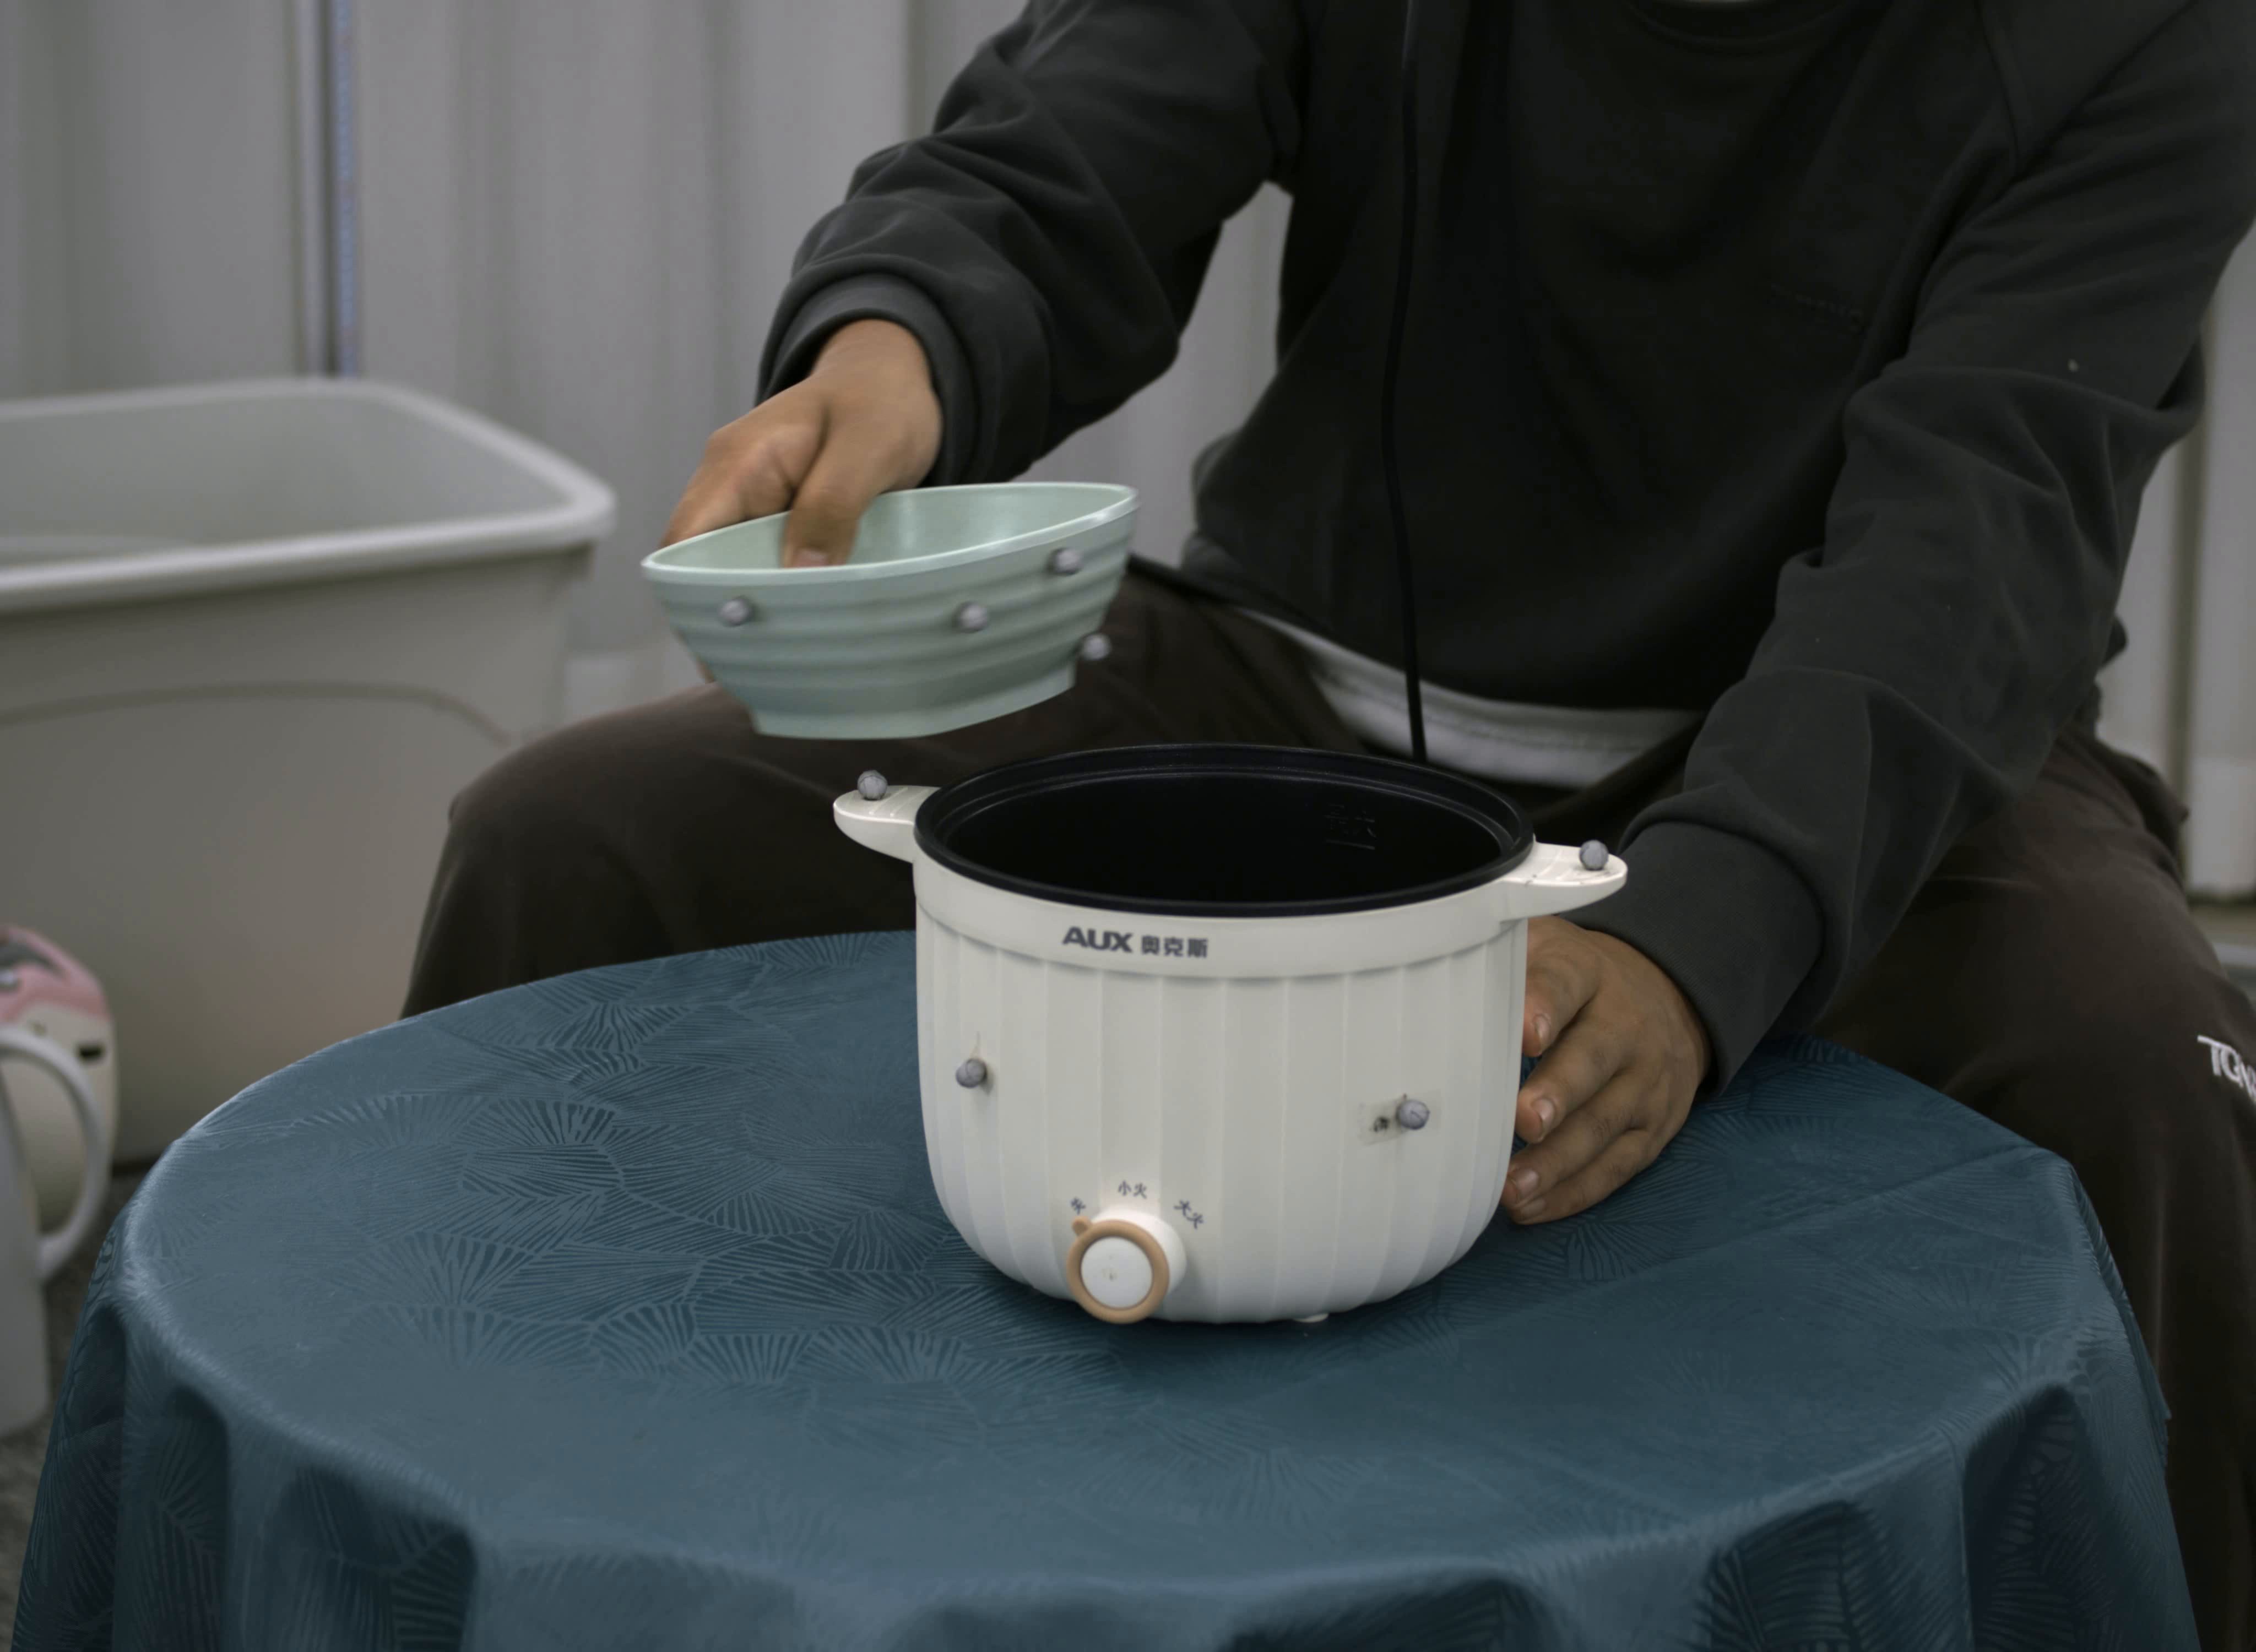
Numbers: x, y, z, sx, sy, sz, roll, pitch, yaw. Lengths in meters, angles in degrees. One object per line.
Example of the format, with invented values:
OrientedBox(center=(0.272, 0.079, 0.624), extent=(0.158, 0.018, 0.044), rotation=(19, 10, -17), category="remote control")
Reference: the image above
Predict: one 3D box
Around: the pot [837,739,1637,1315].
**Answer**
OrientedBox(center=(0.029, 0.062, 1.546), extent=(0.238, 0.143, 0.190), rotation=(3, 13, 15), category="pot")

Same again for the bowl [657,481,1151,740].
OrientedBox(center=(-0.065, -0.064, 1.601), extent=(0.151, 0.059, 0.151), rotation=(-6, 12, 2), category="bowl")
